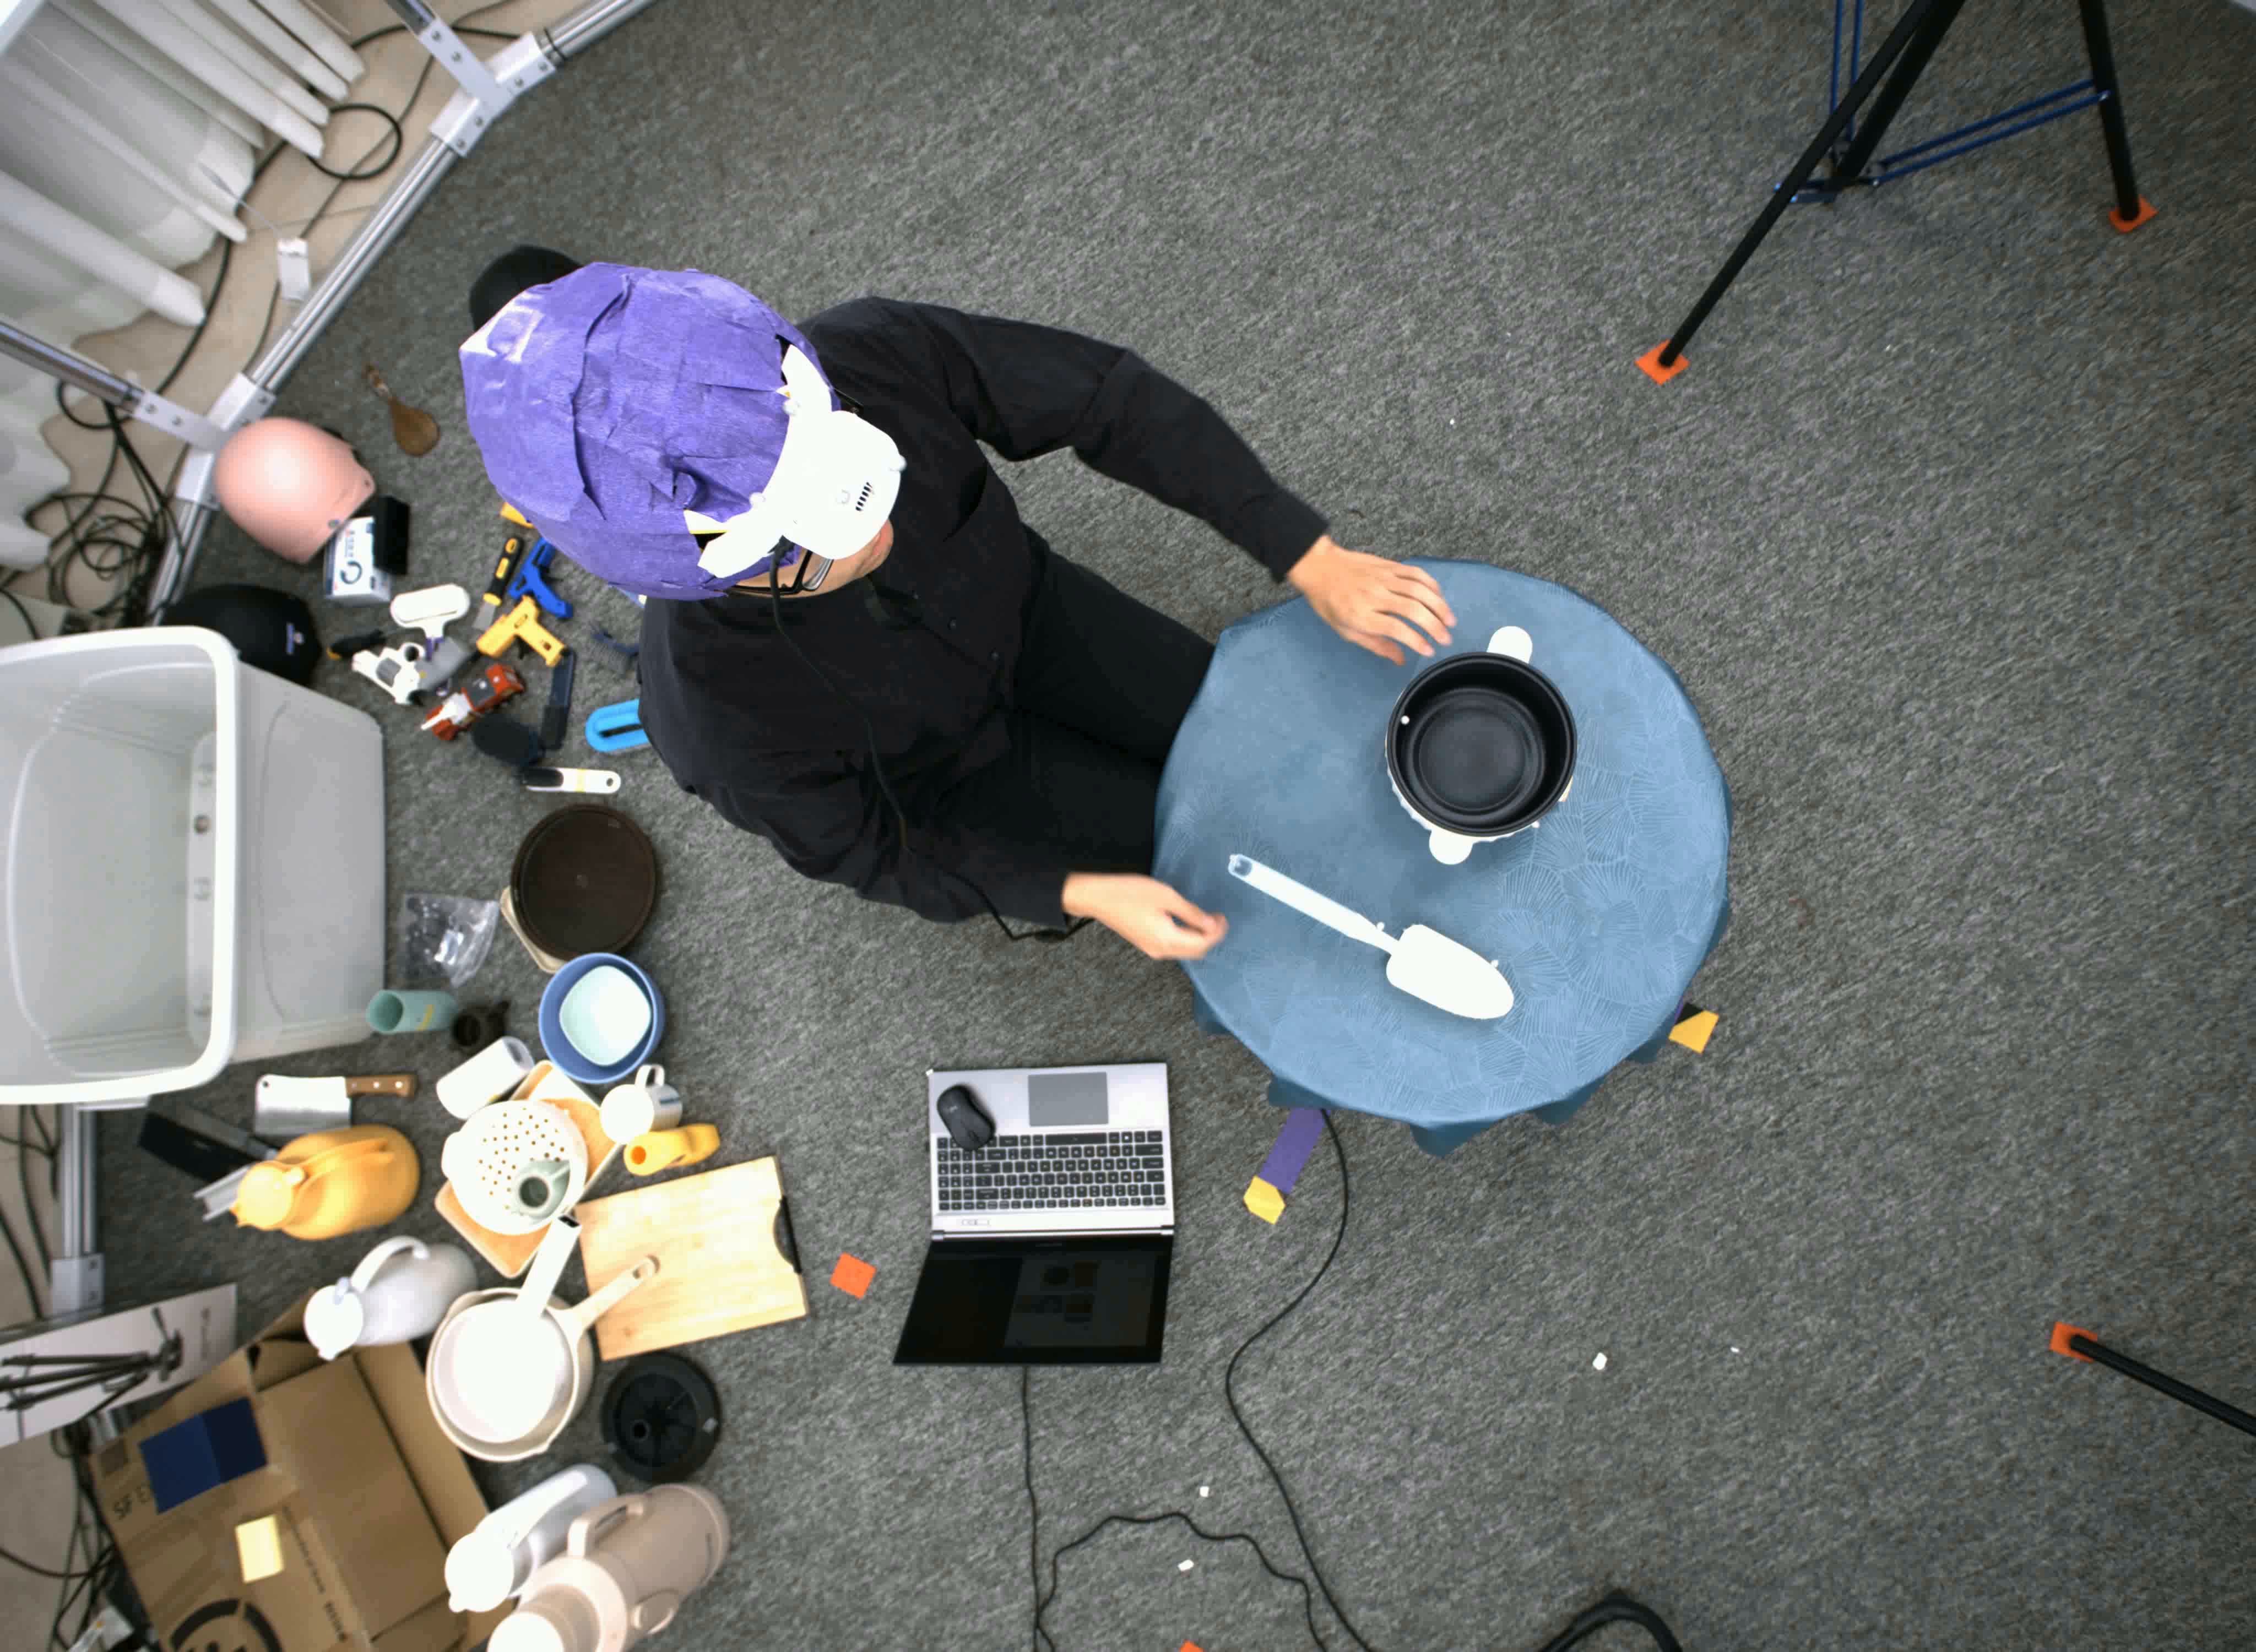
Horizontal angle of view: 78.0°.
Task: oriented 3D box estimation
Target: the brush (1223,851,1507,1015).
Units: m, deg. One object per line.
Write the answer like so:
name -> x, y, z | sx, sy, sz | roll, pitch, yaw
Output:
brush -> 0.243, 0.102, 1.418 | 0.326, 0.086, 0.081 | 27, 55, -1

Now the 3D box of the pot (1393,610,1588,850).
pot -> 0.363, -0.088, 1.374 | 0.190, 0.142, 0.240 | 16, 90, 13
